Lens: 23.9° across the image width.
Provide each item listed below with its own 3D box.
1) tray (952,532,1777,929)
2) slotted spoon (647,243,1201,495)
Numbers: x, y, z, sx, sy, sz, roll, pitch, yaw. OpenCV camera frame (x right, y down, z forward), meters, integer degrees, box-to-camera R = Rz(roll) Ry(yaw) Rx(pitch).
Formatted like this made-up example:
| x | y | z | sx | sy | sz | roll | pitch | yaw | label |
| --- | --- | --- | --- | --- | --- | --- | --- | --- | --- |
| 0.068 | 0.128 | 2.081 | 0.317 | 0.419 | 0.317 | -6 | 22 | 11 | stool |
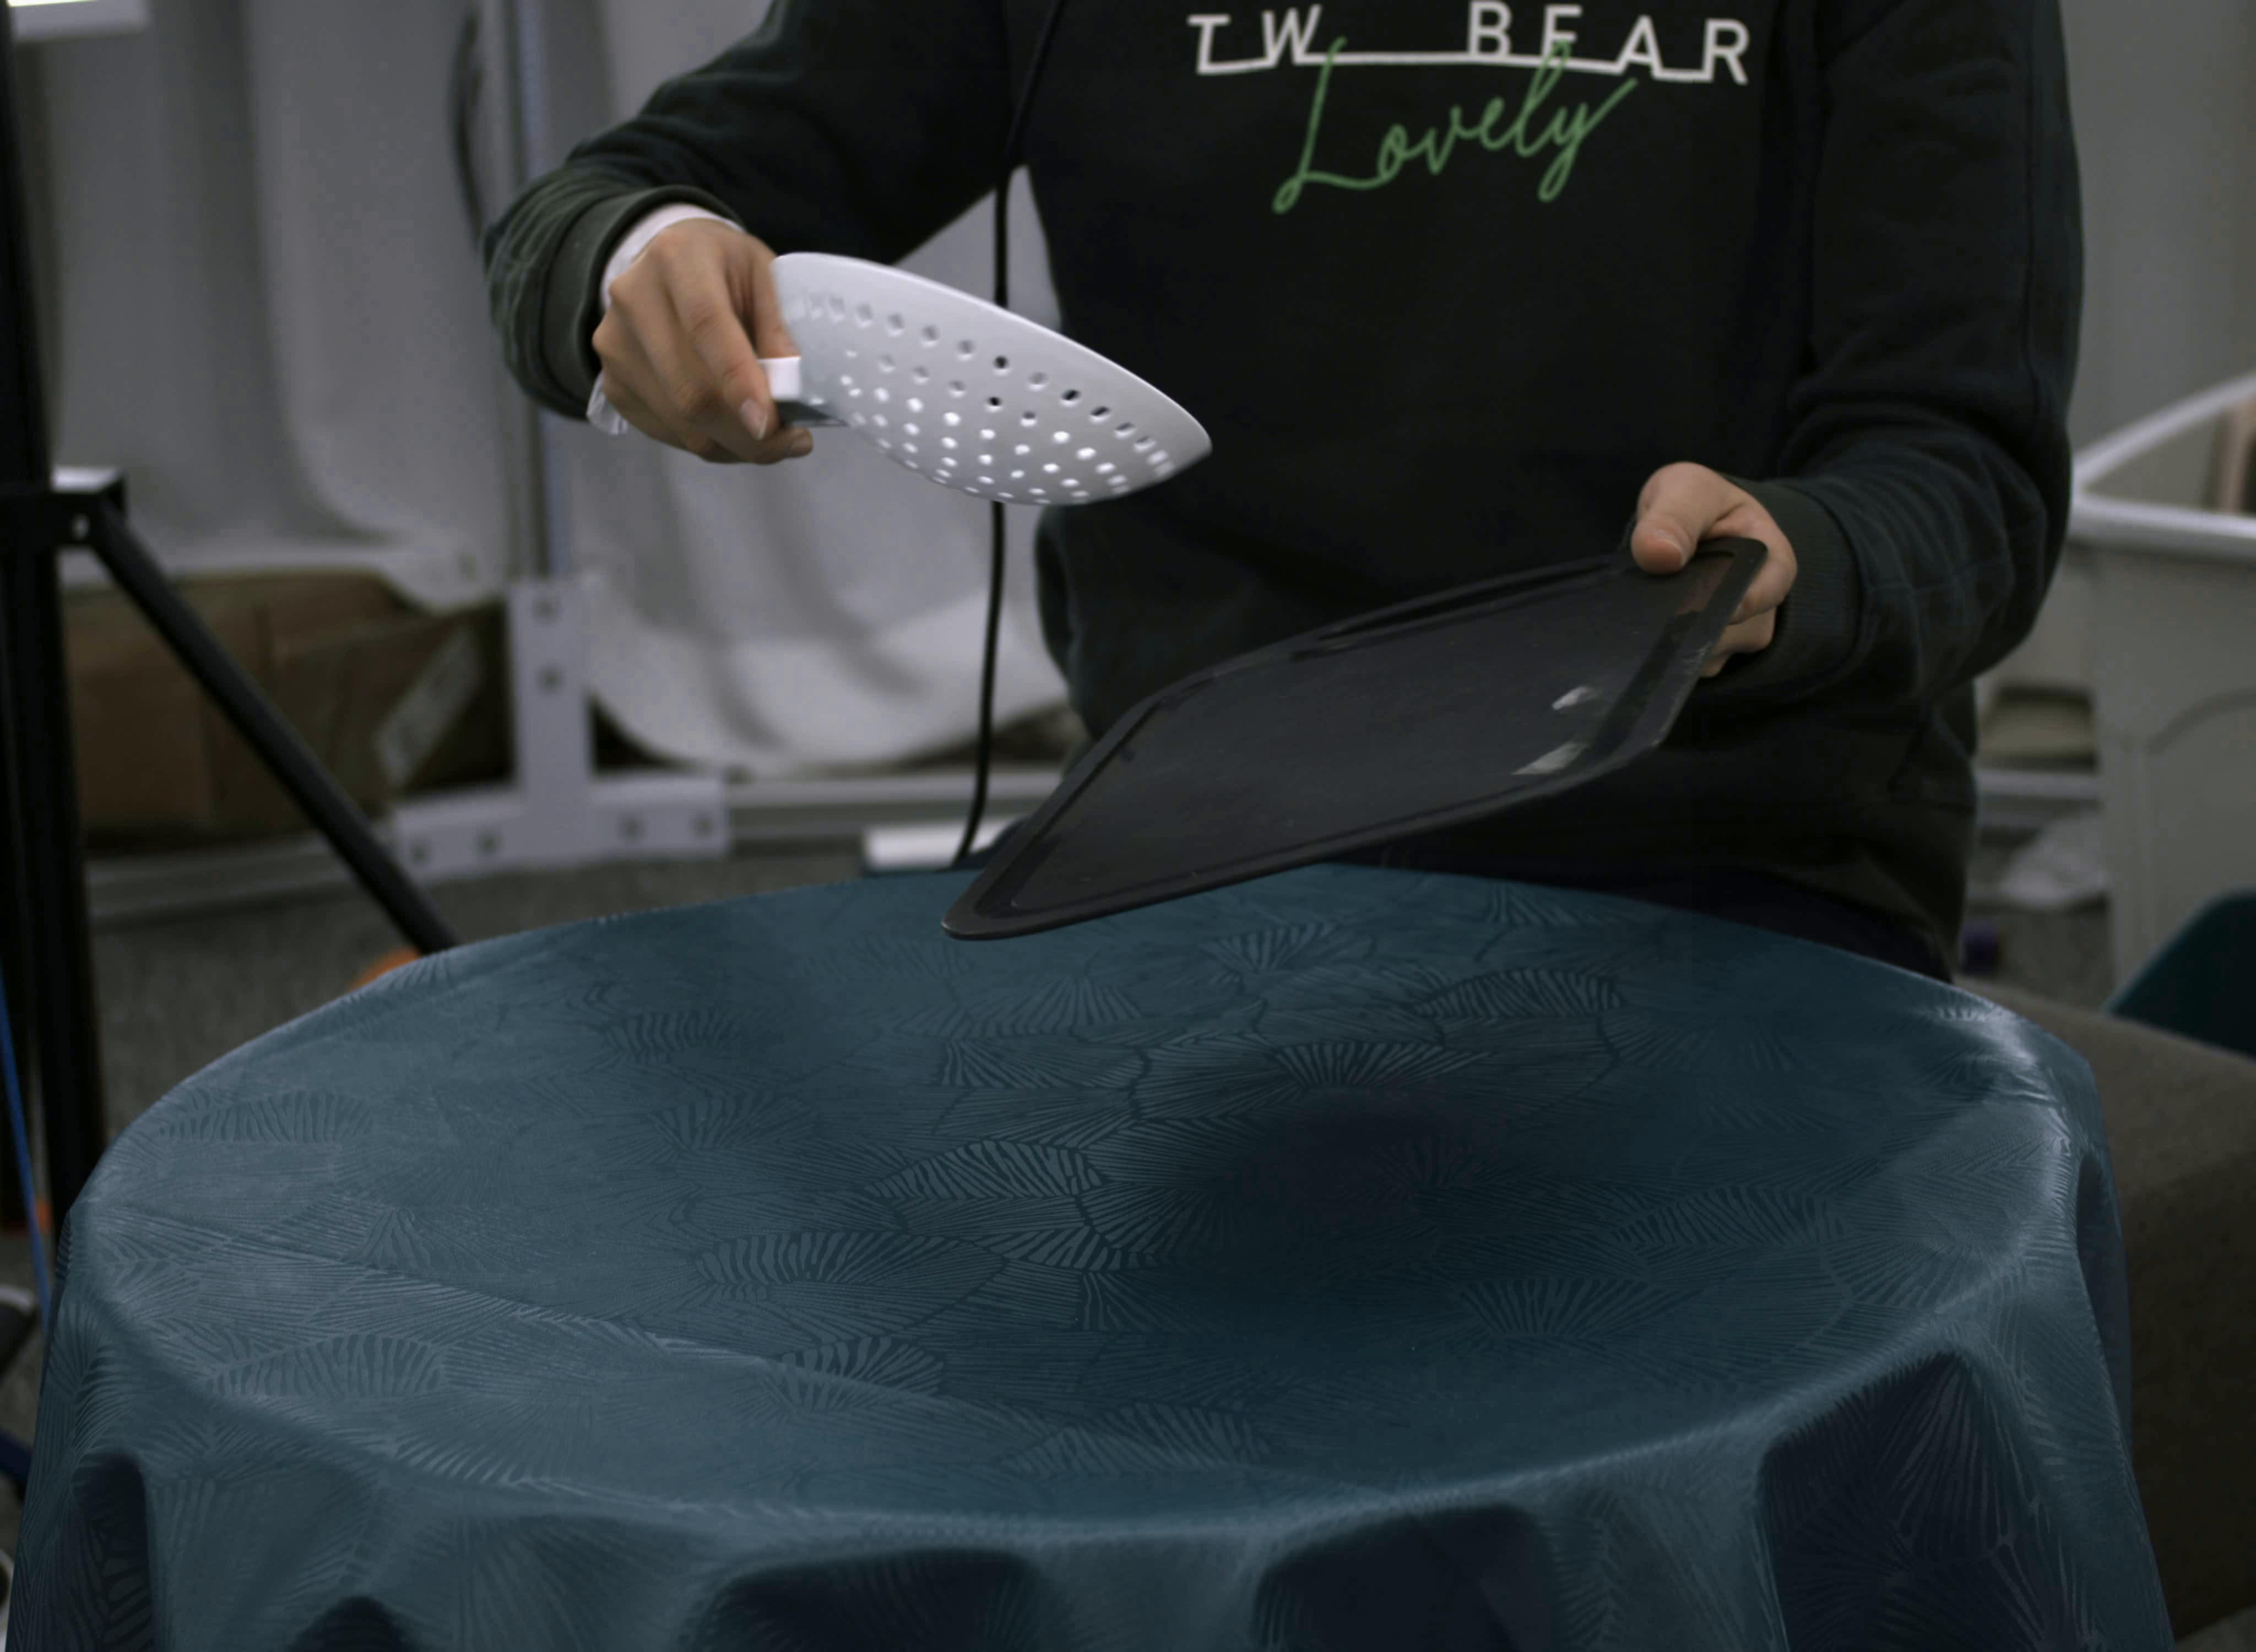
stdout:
| x | y | z | sx | sy | sz | roll | pitch | yaw | label |
| --- | --- | --- | --- | --- | --- | --- | --- | --- | --- |
| 0.075 | -0.033 | 1.543 | 0.213 | 0.010 | 0.323 | -14 | 12 | 18 | tray |
| -0.086 | -0.136 | 1.637 | 0.133 | 0.046 | 0.355 | 24 | -2 | -21 | slotted spoon |
